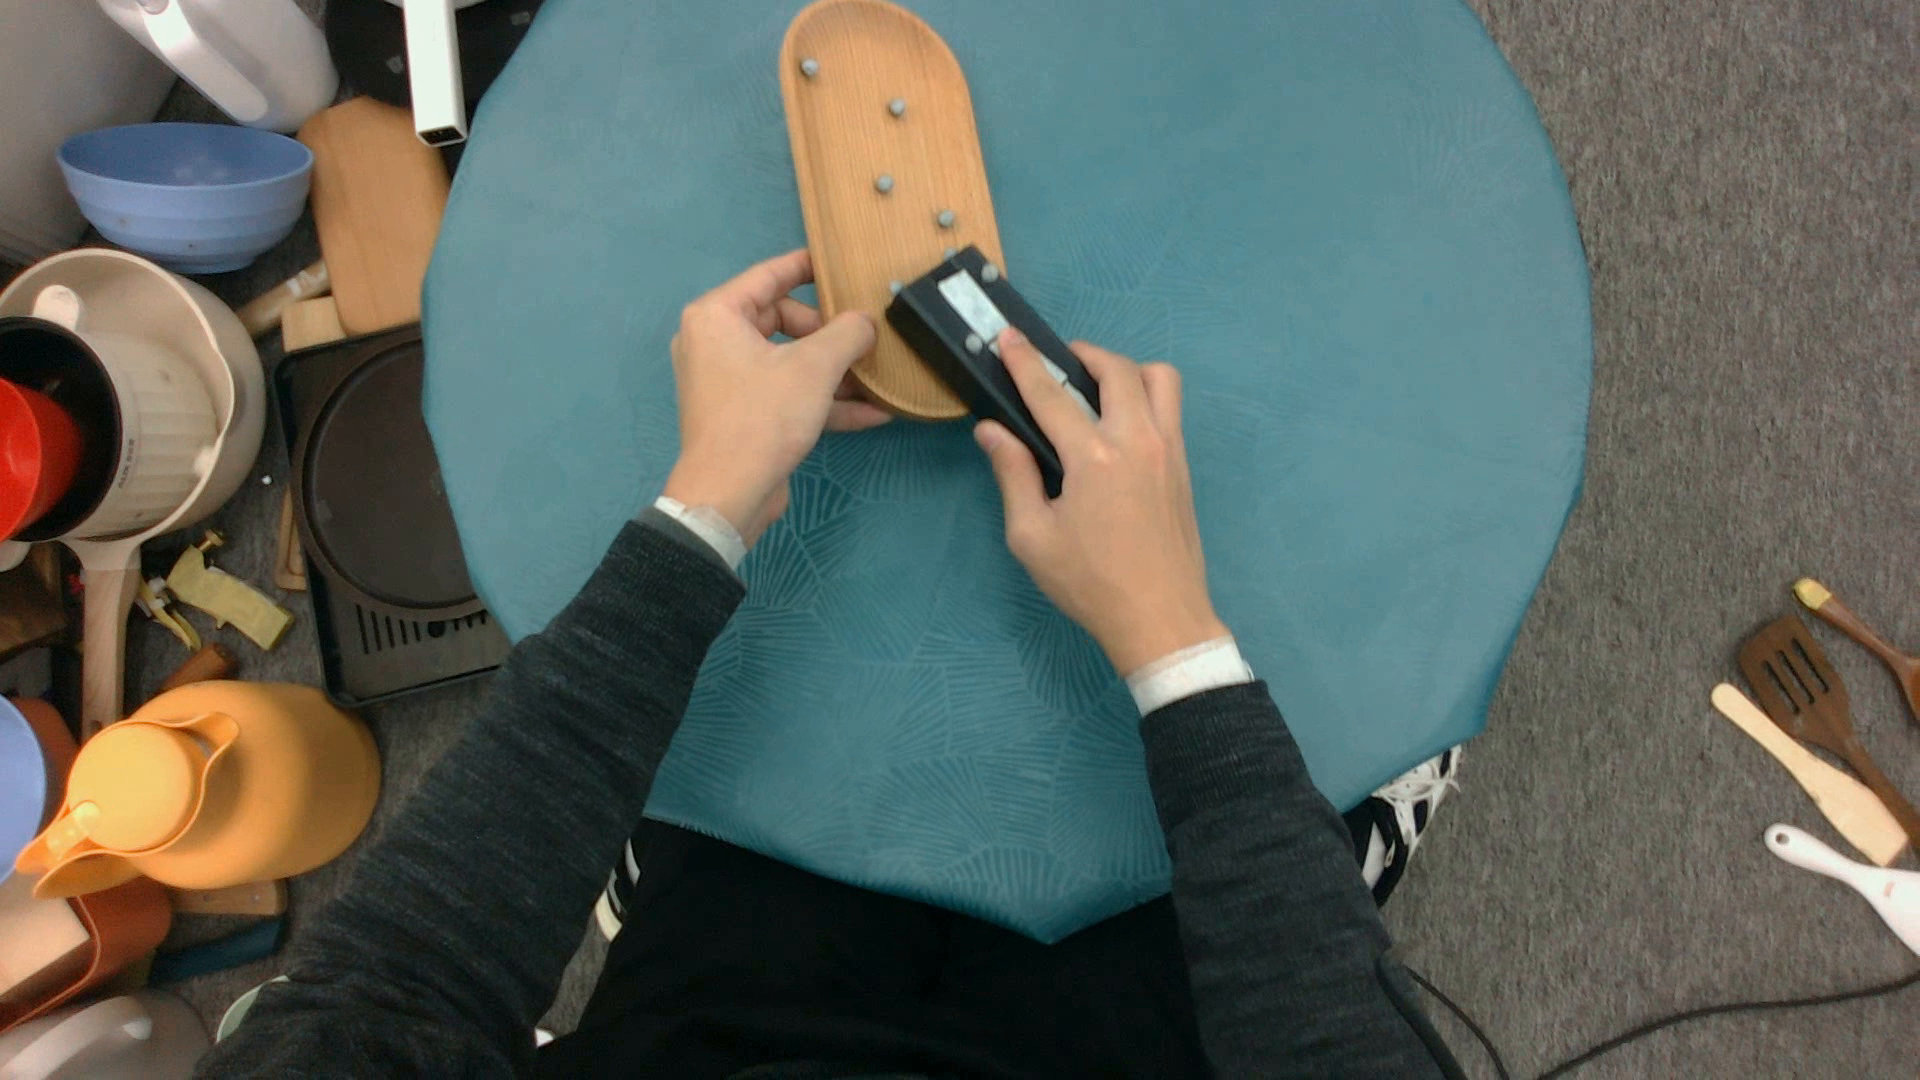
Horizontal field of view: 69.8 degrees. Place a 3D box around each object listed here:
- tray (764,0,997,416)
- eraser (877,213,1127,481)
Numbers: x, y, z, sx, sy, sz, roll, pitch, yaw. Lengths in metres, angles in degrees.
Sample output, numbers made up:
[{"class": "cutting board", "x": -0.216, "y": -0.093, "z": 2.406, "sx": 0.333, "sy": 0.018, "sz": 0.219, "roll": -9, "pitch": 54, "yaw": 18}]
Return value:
[{"class": "tray", "x": -0.037, "y": -0.169, "z": 0.674, "sx": 0.102, "sy": 0.020, "sz": 0.231, "roll": -5, "pitch": 77, "yaw": -26}, {"class": "eraser", "x": 0.018, "y": -0.091, "z": 0.650, "sx": 0.054, "sy": 0.030, "sz": 0.125, "roll": -38, "pitch": 86, "yaw": -23}]
